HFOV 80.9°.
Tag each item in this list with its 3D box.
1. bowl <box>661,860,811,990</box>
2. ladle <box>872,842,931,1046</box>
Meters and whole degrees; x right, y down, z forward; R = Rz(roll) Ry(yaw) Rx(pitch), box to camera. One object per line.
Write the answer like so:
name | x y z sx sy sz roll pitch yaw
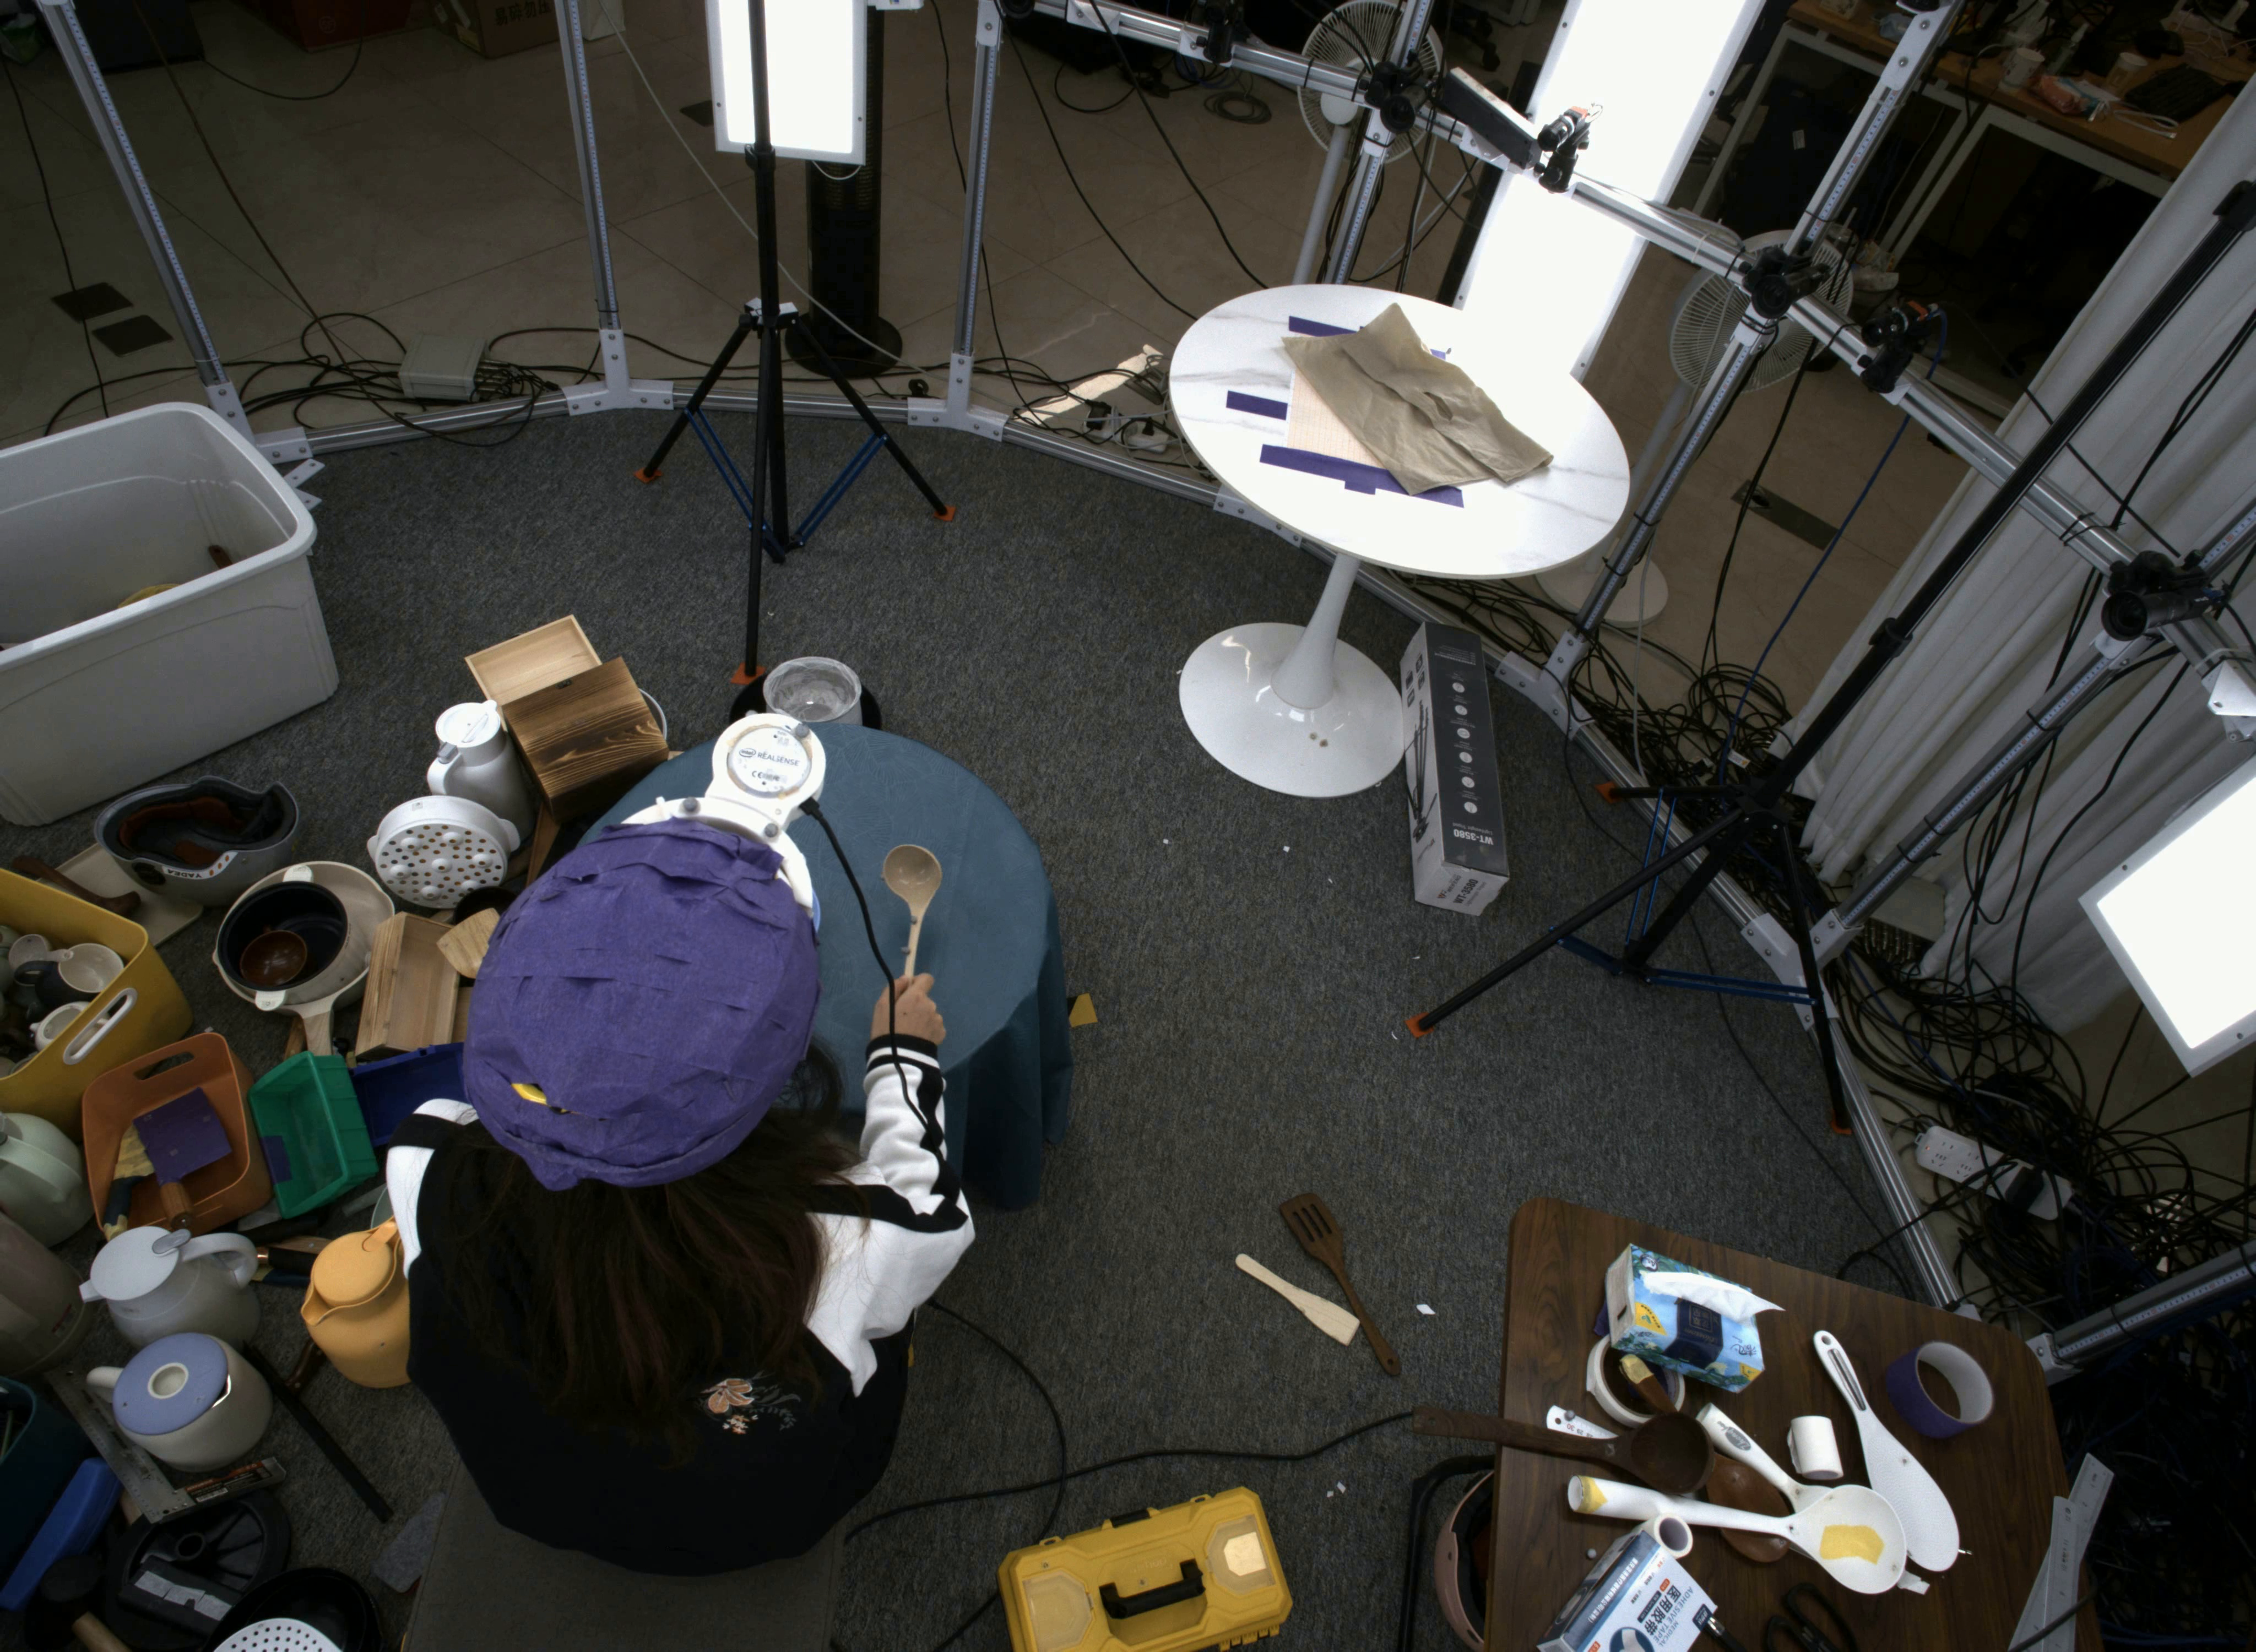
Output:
bowl | -0.471 0.129 1.565 0.175 0.072 0.173 7 52 -8
ladle | -0.271 0.129 1.530 0.071 0.075 0.249 -13 50 9
